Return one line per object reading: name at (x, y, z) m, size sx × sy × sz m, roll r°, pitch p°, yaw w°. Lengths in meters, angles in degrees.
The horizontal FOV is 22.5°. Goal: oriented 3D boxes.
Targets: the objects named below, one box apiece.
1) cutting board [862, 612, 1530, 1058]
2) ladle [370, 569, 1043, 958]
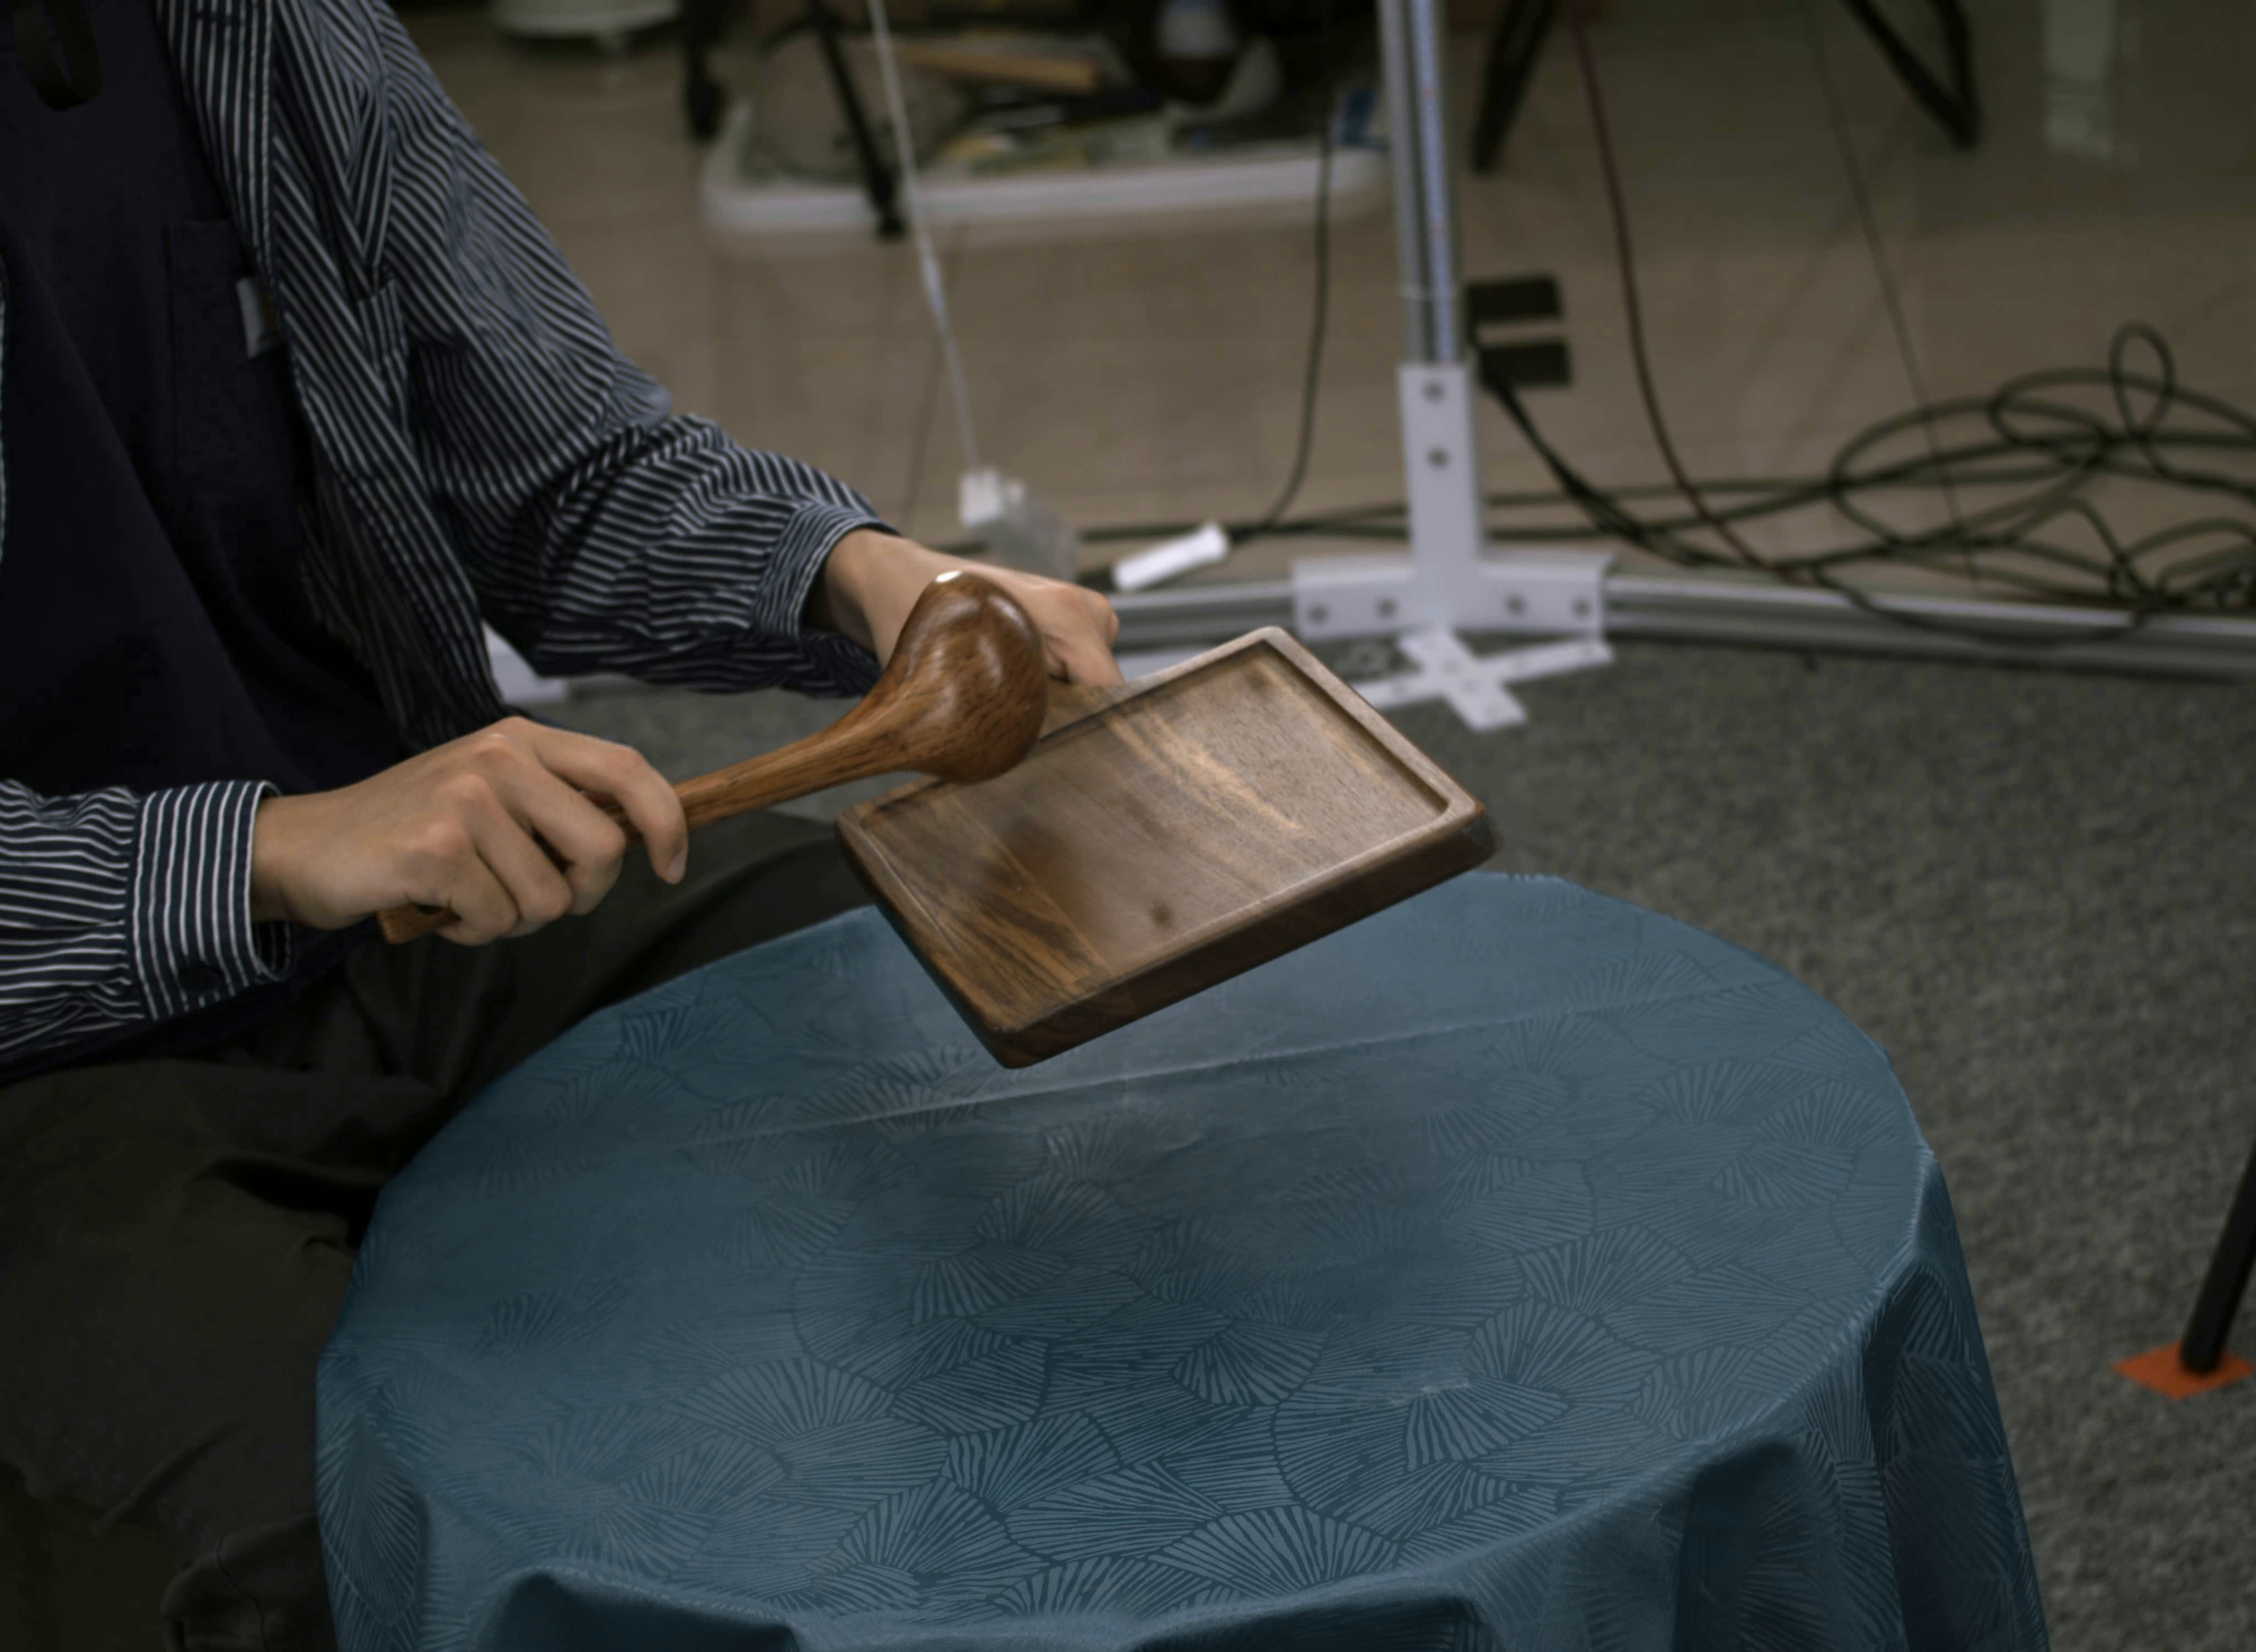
cutting board at (0.007, -0.017, 2.154) m, size 0.200 × 0.023 × 0.348 m, roll -24°, pitch 24°, yaw -7°
ladle at (-0.160, -0.020, 2.137) m, size 0.273 × 0.083 × 0.076 m, roll -21°, pitch 17°, yaw -6°
